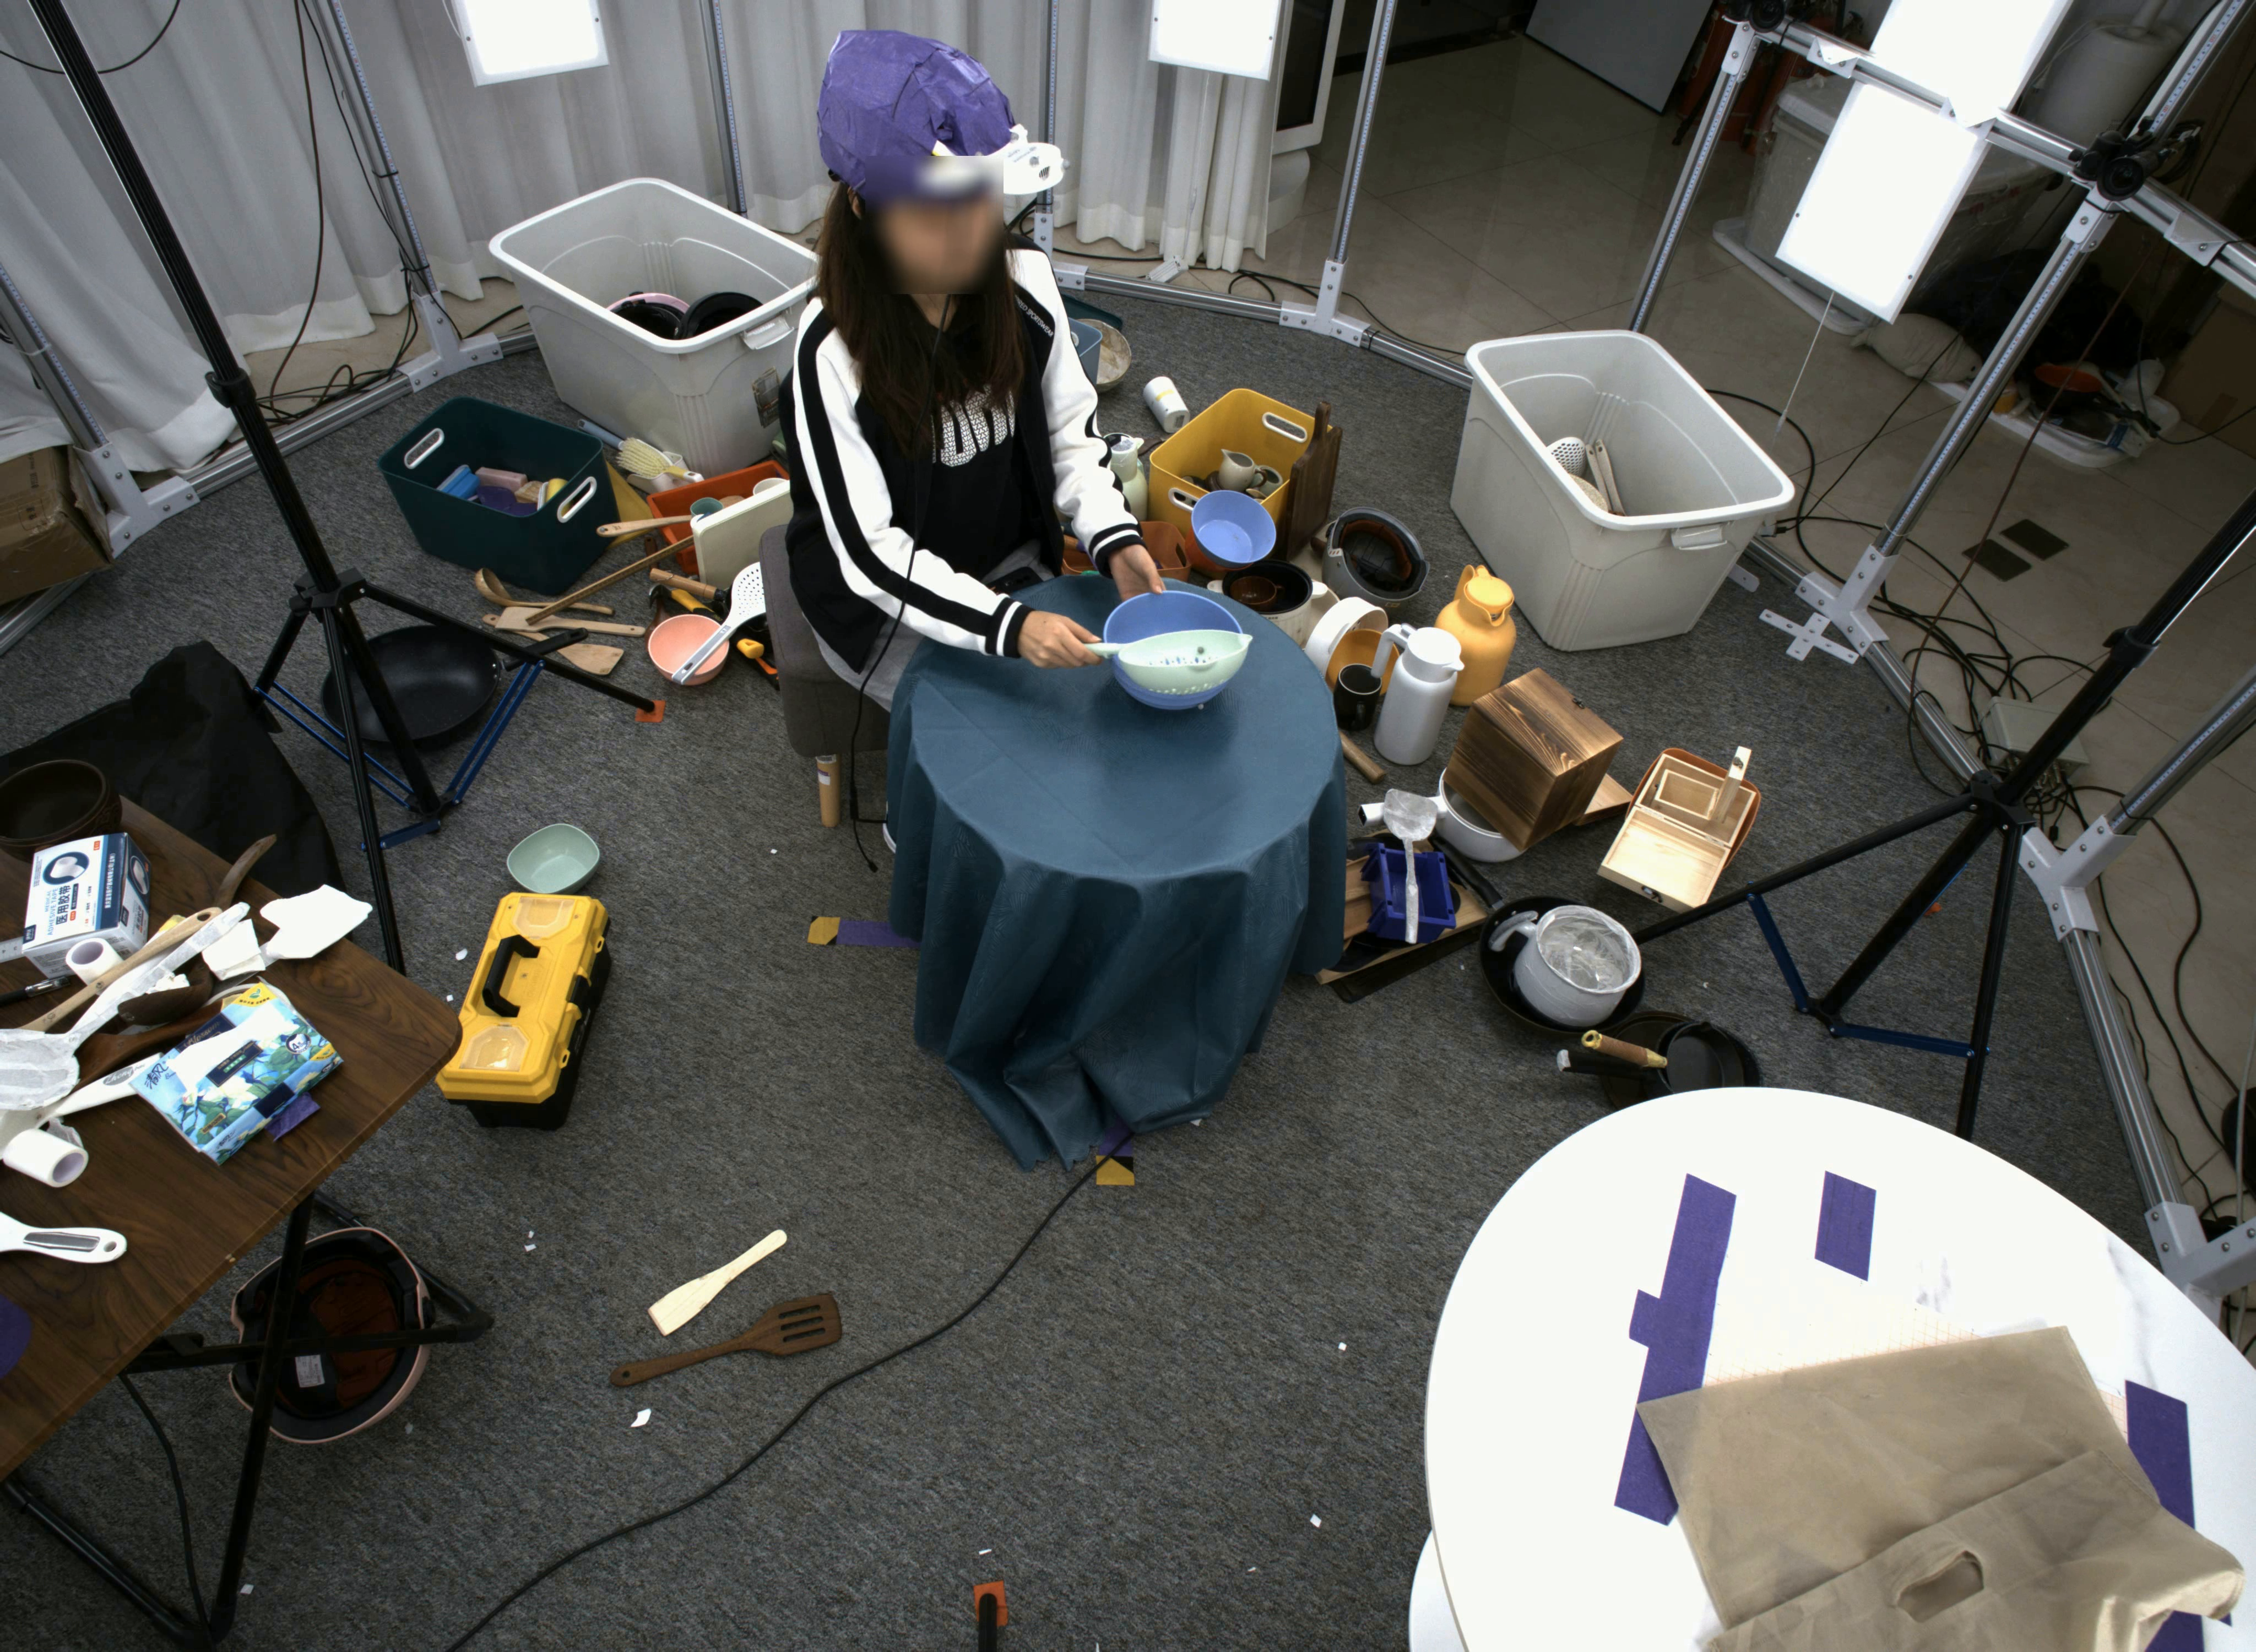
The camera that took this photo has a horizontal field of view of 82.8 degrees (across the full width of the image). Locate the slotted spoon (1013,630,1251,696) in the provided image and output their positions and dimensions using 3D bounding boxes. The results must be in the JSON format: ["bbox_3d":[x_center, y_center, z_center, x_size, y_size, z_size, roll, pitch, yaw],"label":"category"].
[{"bbox_3d":[-0.010,-0.229,1.725,0.362,0.074,0.171,15,29,29],"label":"slotted spoon"}]

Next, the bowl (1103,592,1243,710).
[{"bbox_3d":[0.061,-0.232,1.814,0.196,0.093,0.201,1,49,-2],"label":"bowl"}]
